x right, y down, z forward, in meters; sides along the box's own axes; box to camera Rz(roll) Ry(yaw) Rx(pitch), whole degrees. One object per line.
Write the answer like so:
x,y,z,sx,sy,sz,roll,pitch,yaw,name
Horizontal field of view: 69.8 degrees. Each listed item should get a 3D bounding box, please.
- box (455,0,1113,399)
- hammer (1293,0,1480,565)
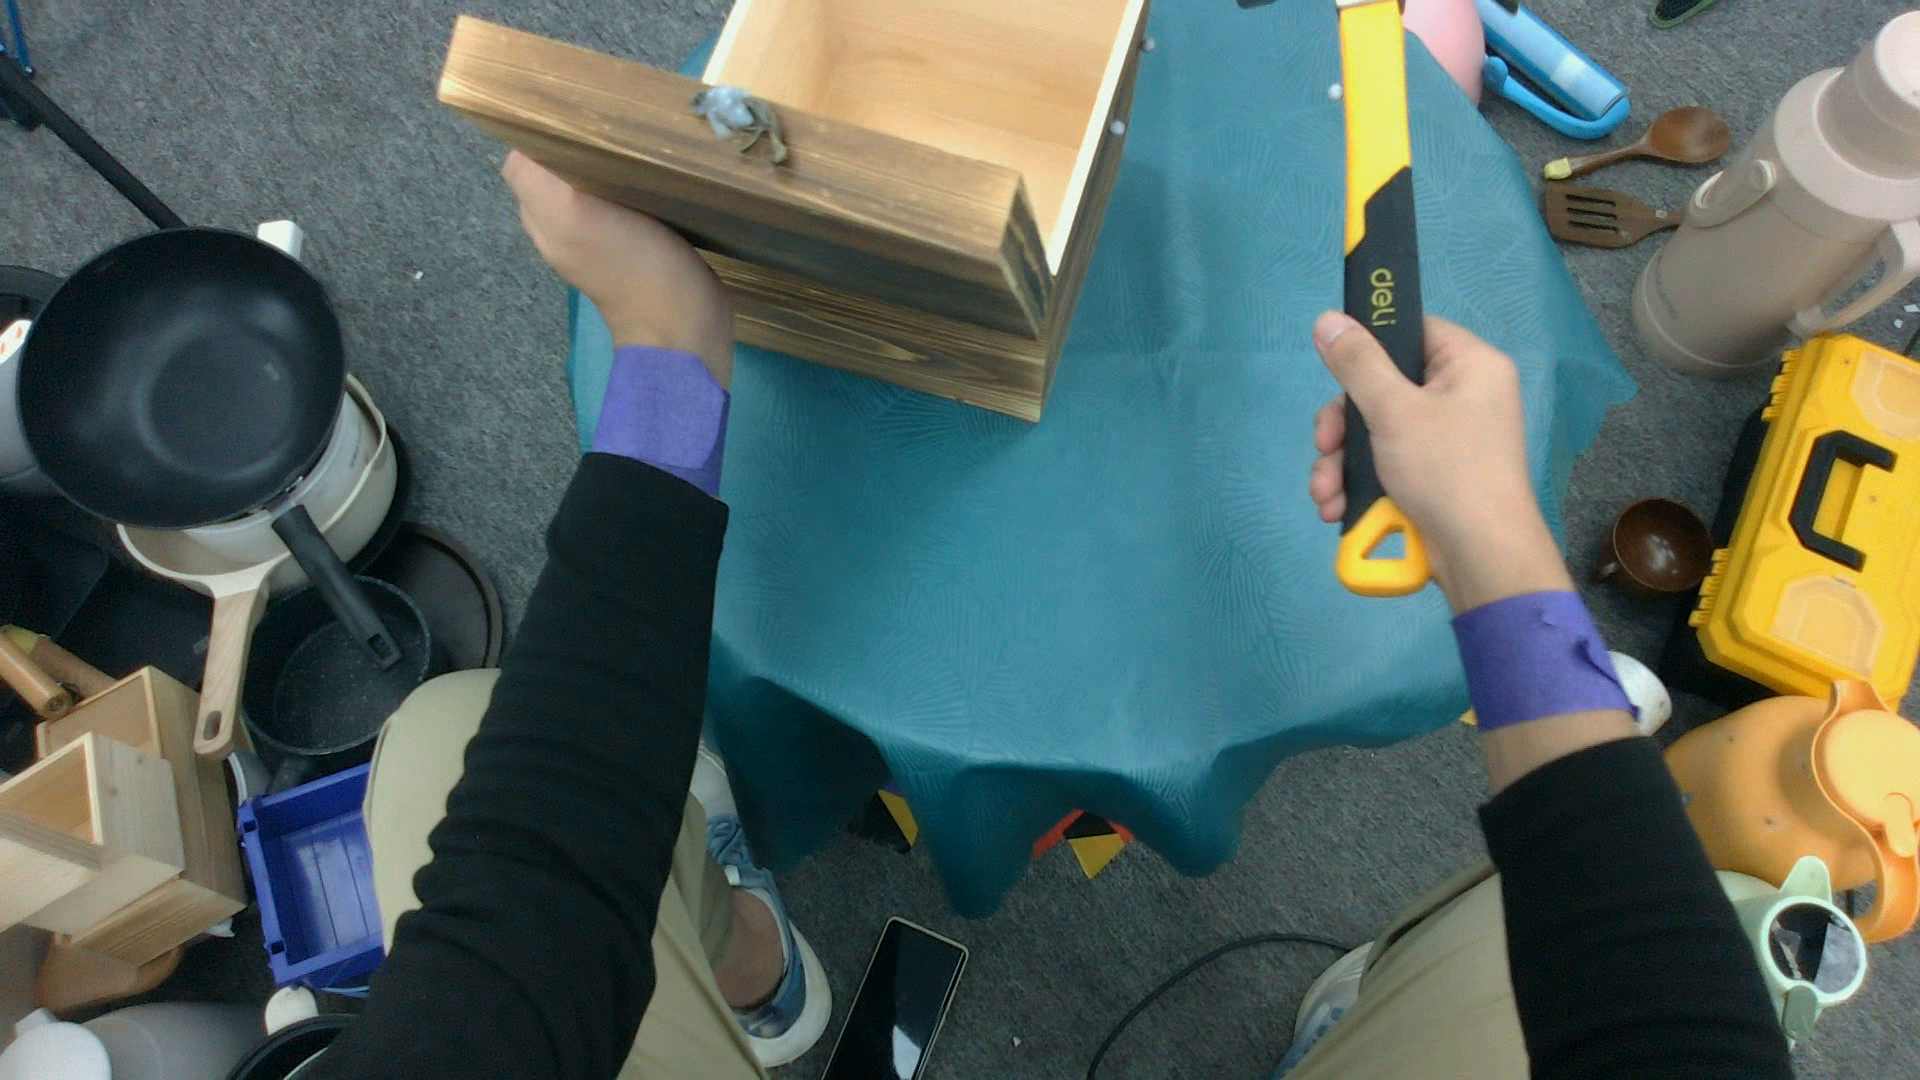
-0.046,-0.208,0.674,0.209,0.374,0.323,14,72,4,box
0.183,-0.153,0.659,0.131,0.032,0.339,0,74,17,hammer
